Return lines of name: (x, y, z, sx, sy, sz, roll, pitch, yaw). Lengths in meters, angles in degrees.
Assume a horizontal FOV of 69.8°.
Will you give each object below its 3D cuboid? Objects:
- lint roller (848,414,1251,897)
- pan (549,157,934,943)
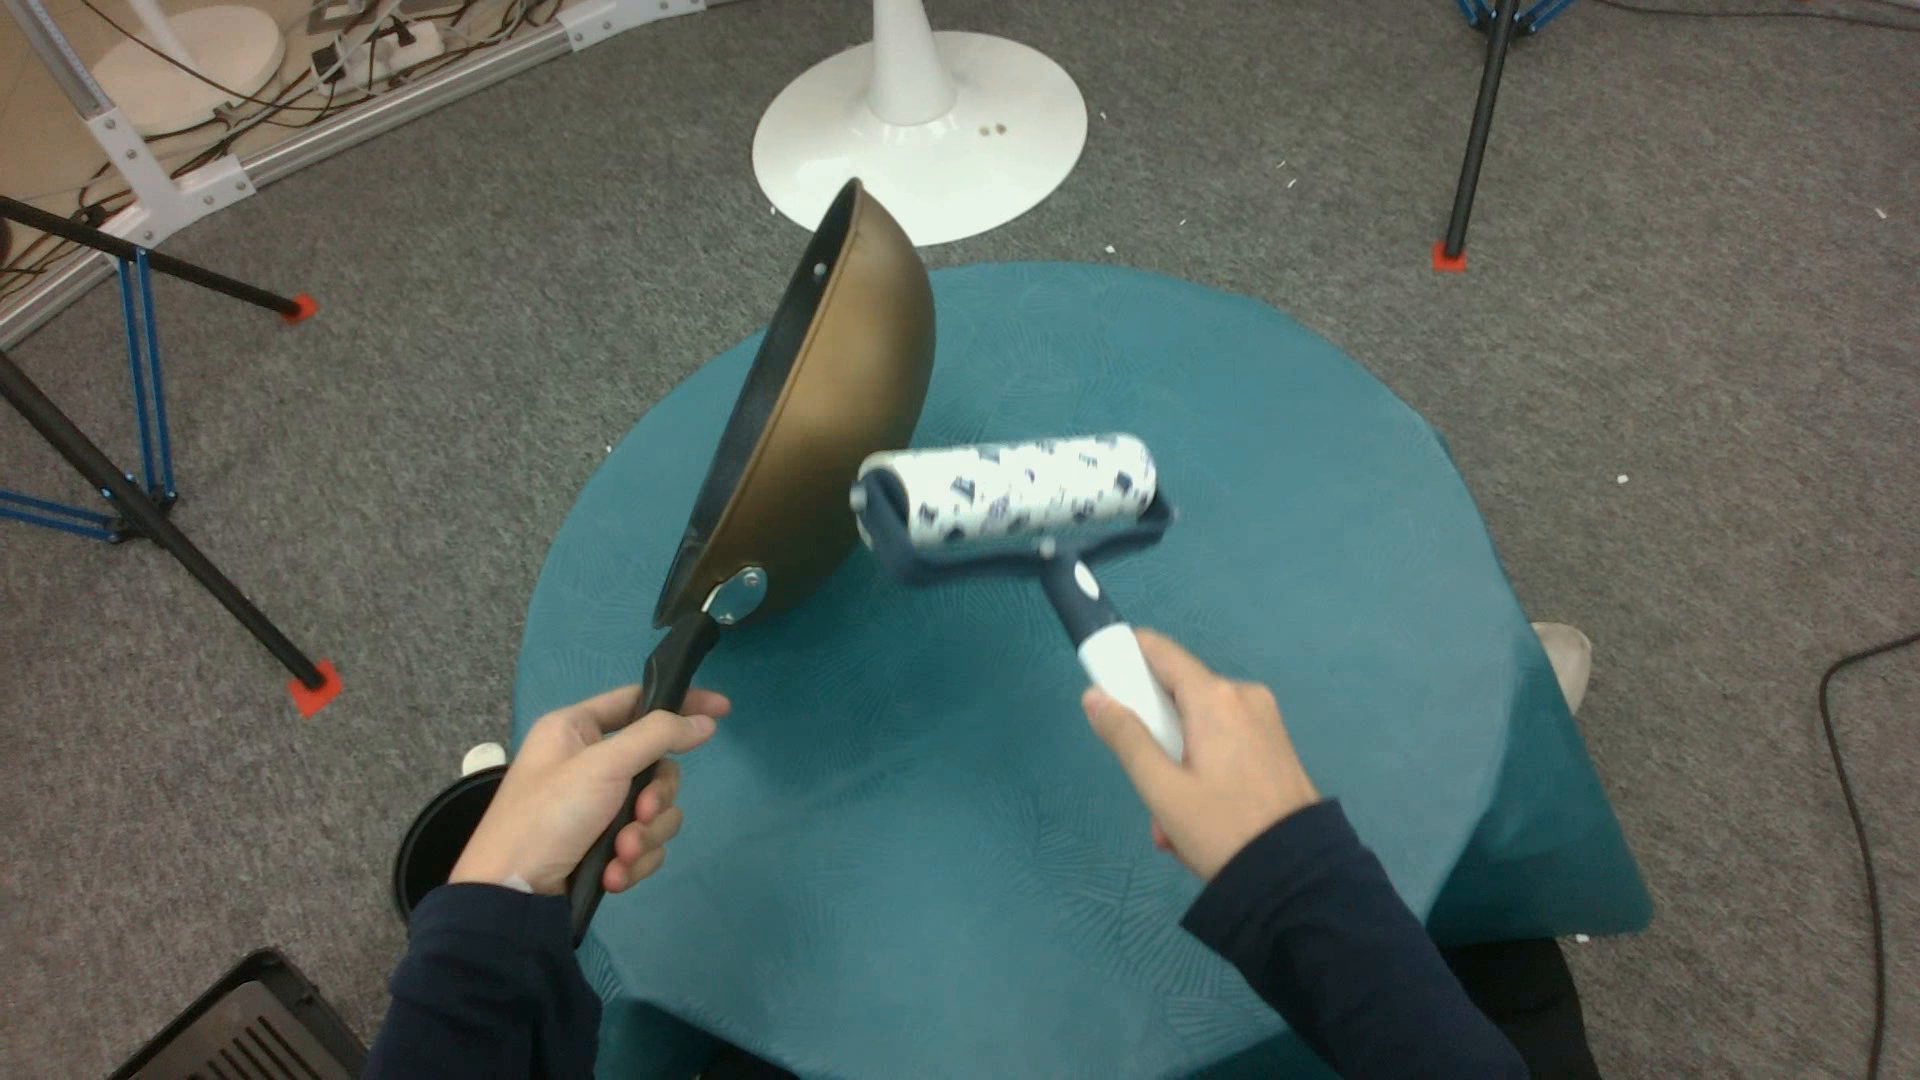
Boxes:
lint roller: (0.070, 0.046, 0.636, 0.177, 0.050, 0.247, -9, 60, -41)
pan: (-0.102, -0.002, 0.731, 0.087, 0.286, 0.465, 24, 49, -16)
